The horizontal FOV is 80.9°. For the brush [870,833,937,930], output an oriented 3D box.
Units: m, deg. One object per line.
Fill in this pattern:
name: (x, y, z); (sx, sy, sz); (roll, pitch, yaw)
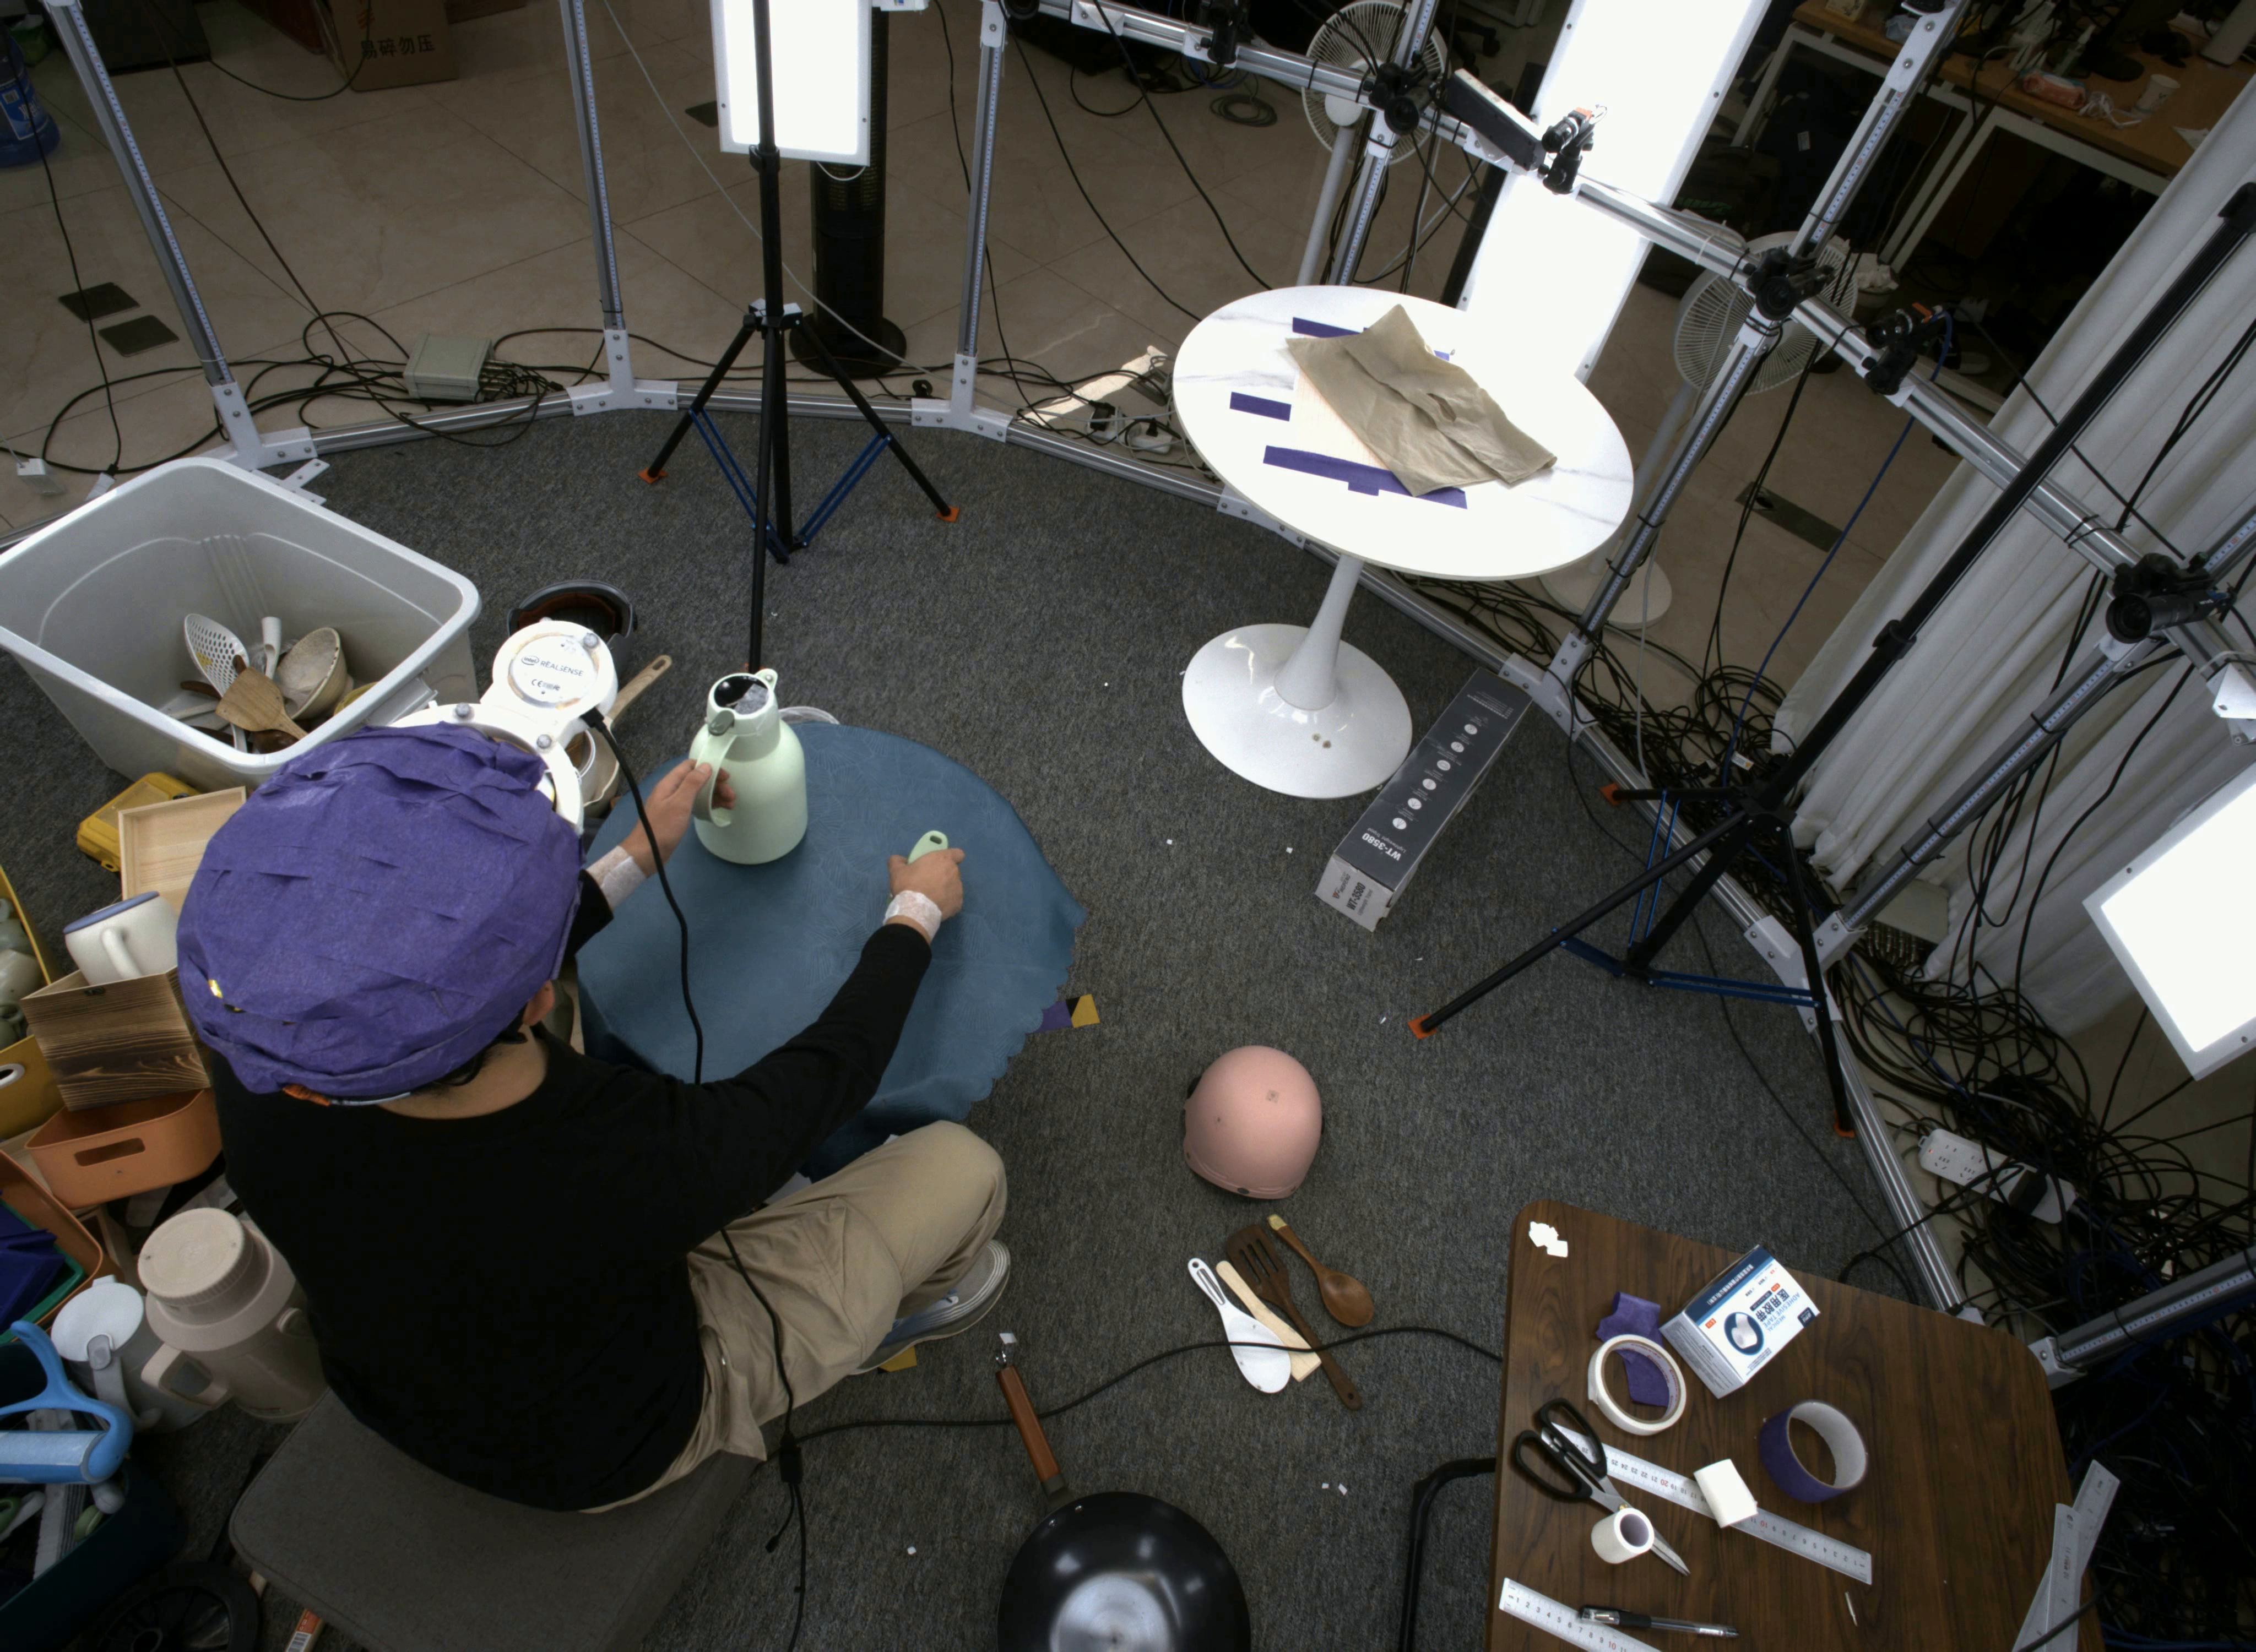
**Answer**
brush: (-0.287, 0.072, 1.672); (0.059, 0.076, 0.123); (24, 70, 2)

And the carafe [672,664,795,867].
carafe: (-0.495, -0.067, 1.584); (0.142, 0.262, 0.185); (18, 53, 3)
